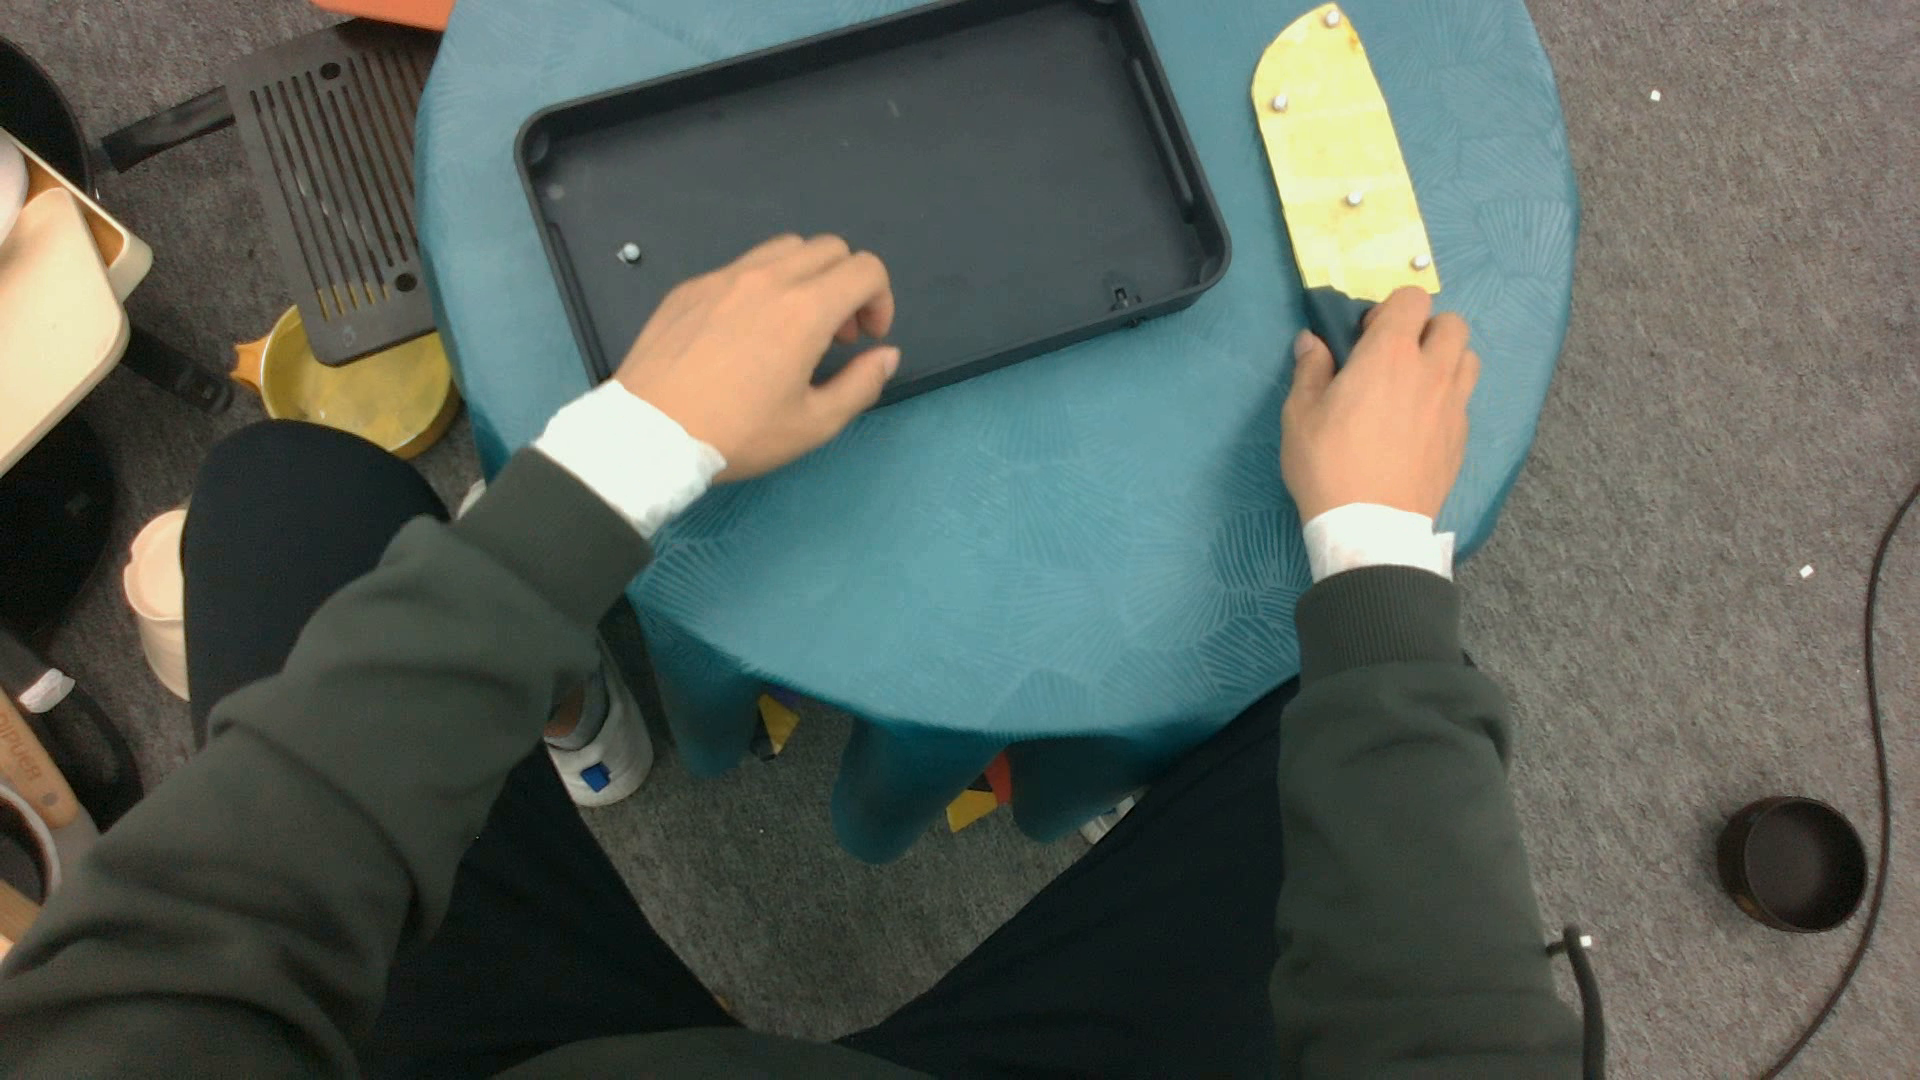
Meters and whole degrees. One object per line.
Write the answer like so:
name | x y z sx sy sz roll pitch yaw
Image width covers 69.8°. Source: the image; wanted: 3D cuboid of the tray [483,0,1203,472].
tray | -0.054 -0.165 0.683 0.318 0.037 0.184 -21 83 -10

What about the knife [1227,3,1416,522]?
knife | 0.198 -0.152 0.722 0.081 0.027 0.290 -8 80 -9
